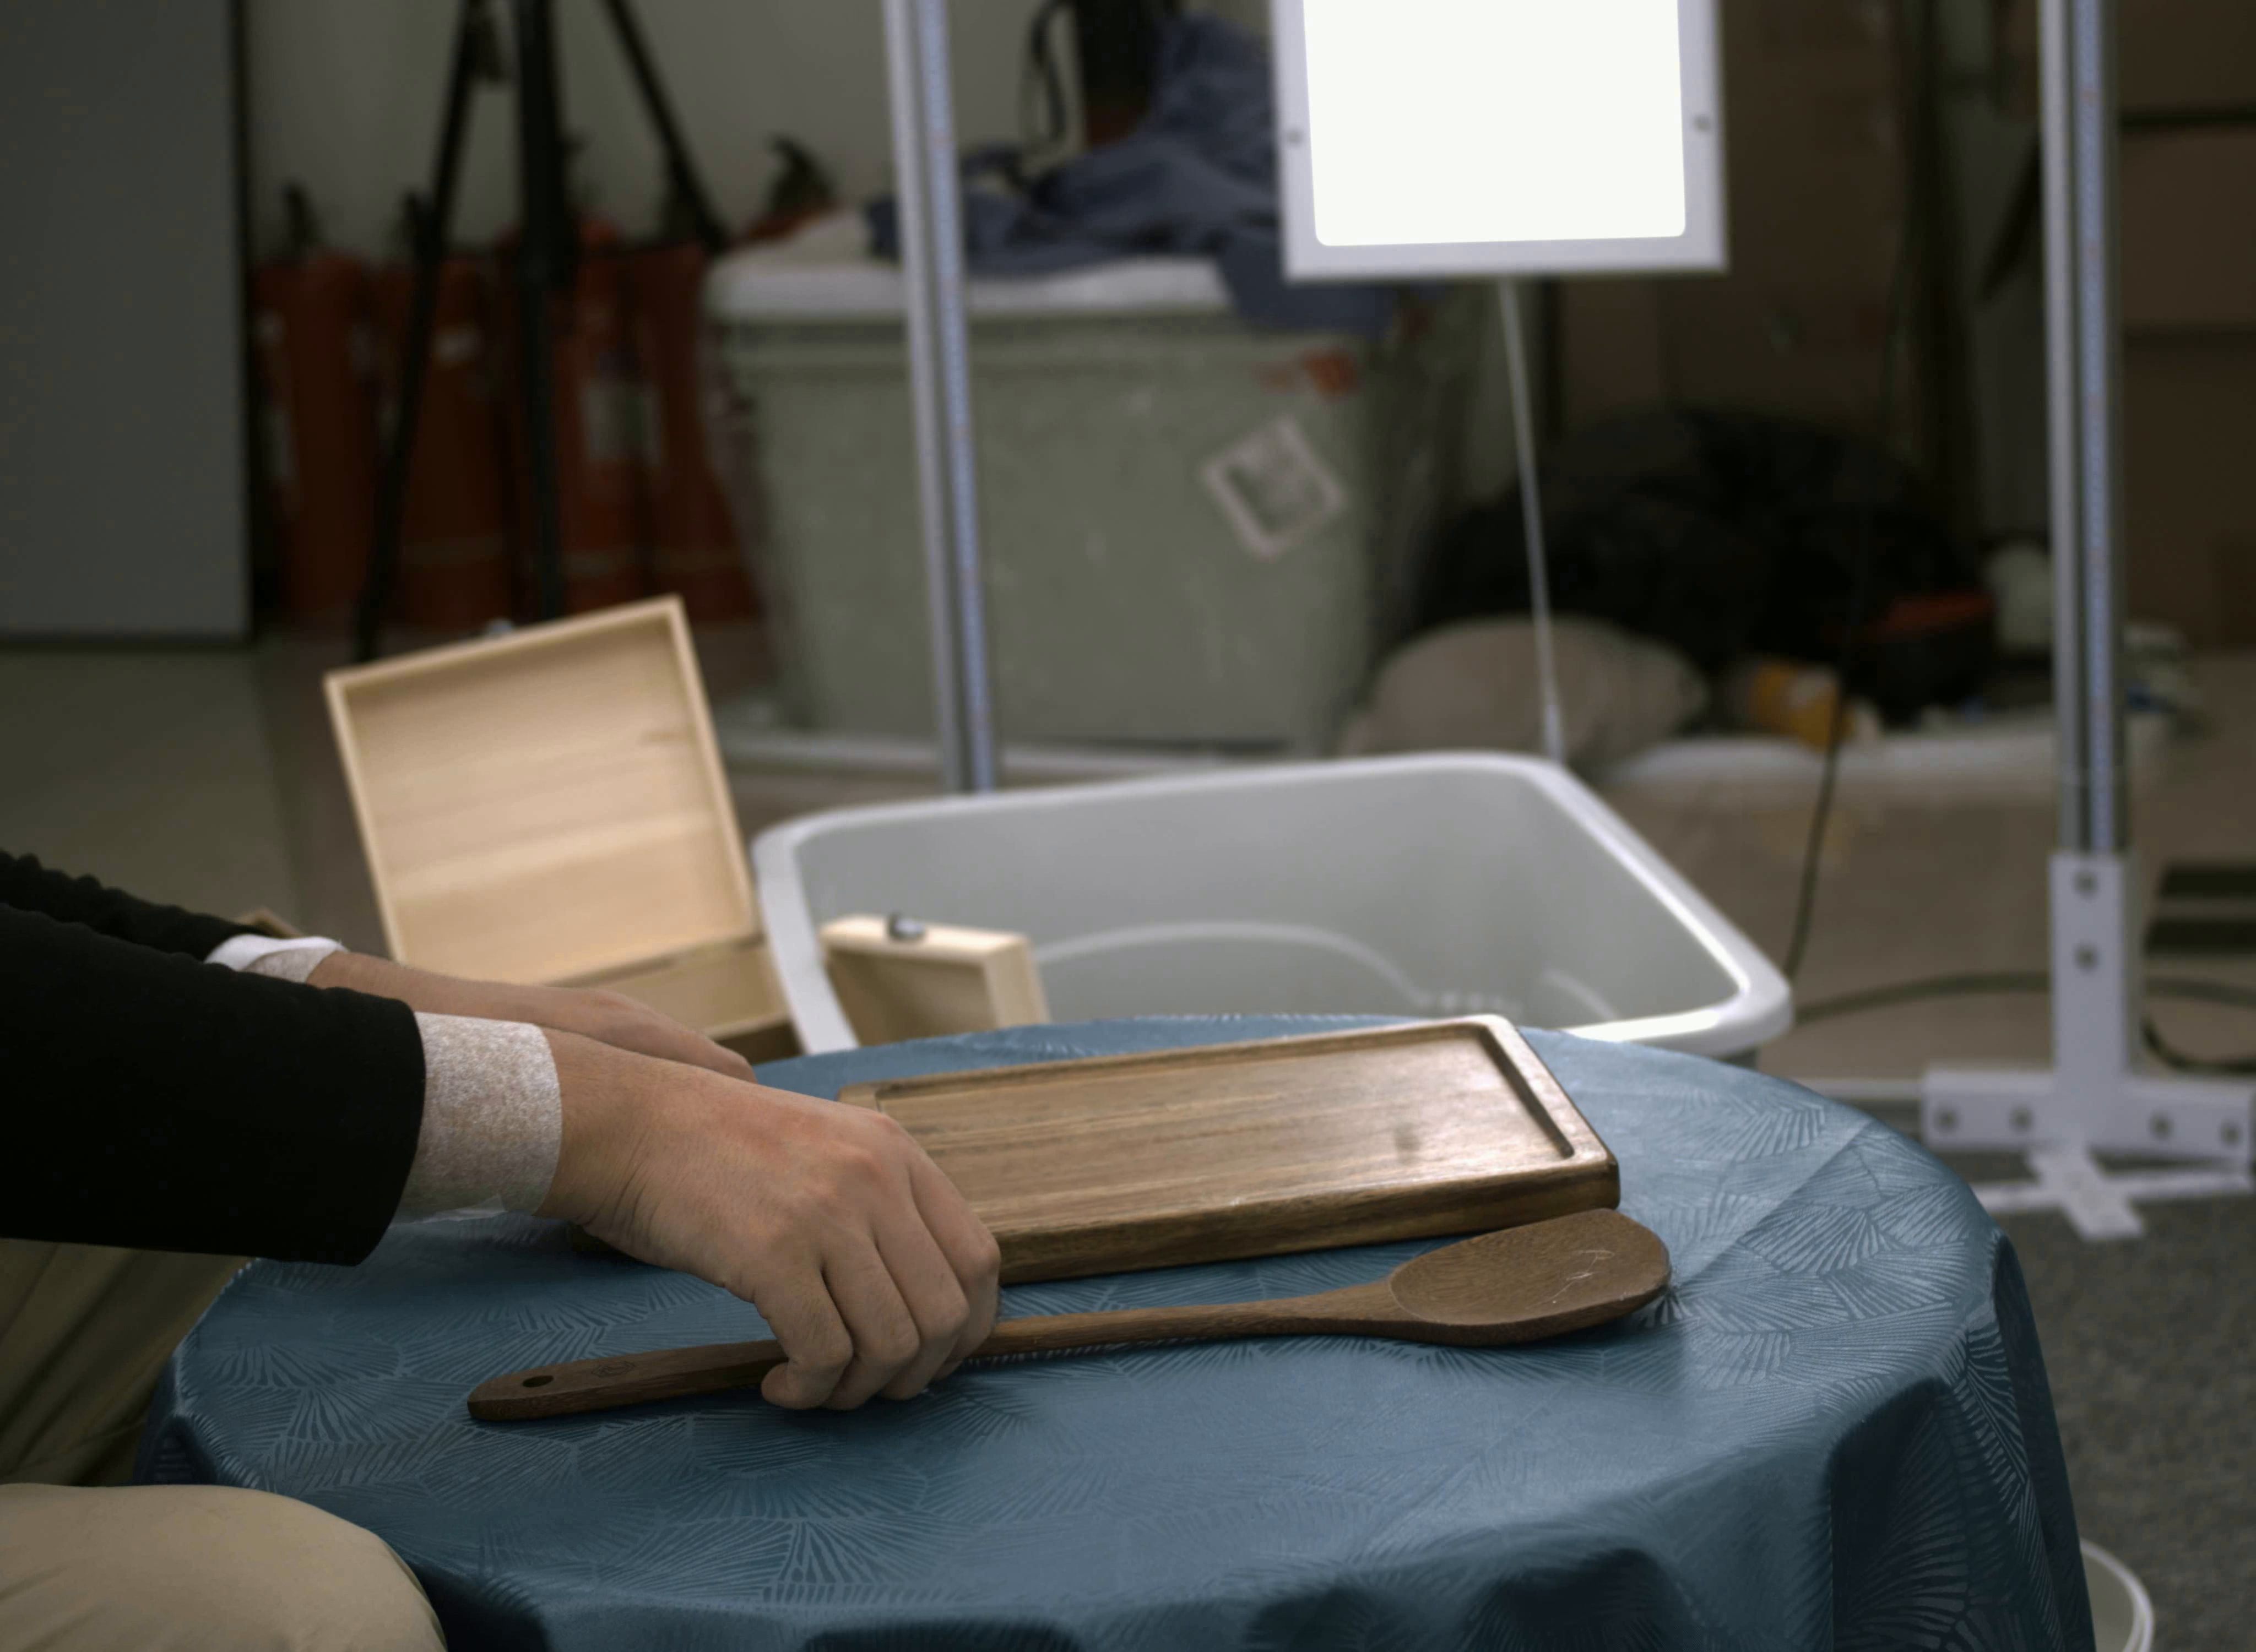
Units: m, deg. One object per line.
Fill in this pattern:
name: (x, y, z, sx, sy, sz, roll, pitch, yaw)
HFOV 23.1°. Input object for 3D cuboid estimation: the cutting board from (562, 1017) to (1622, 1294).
cutting board: (-0.020, 0.116, 1.904, 0.350, 0.023, 0.201, -6, 13, -5)

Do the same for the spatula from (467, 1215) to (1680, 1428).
spatula: (-0.017, 0.160, 1.738, 0.384, 0.016, 0.096, -6, 13, -3)
